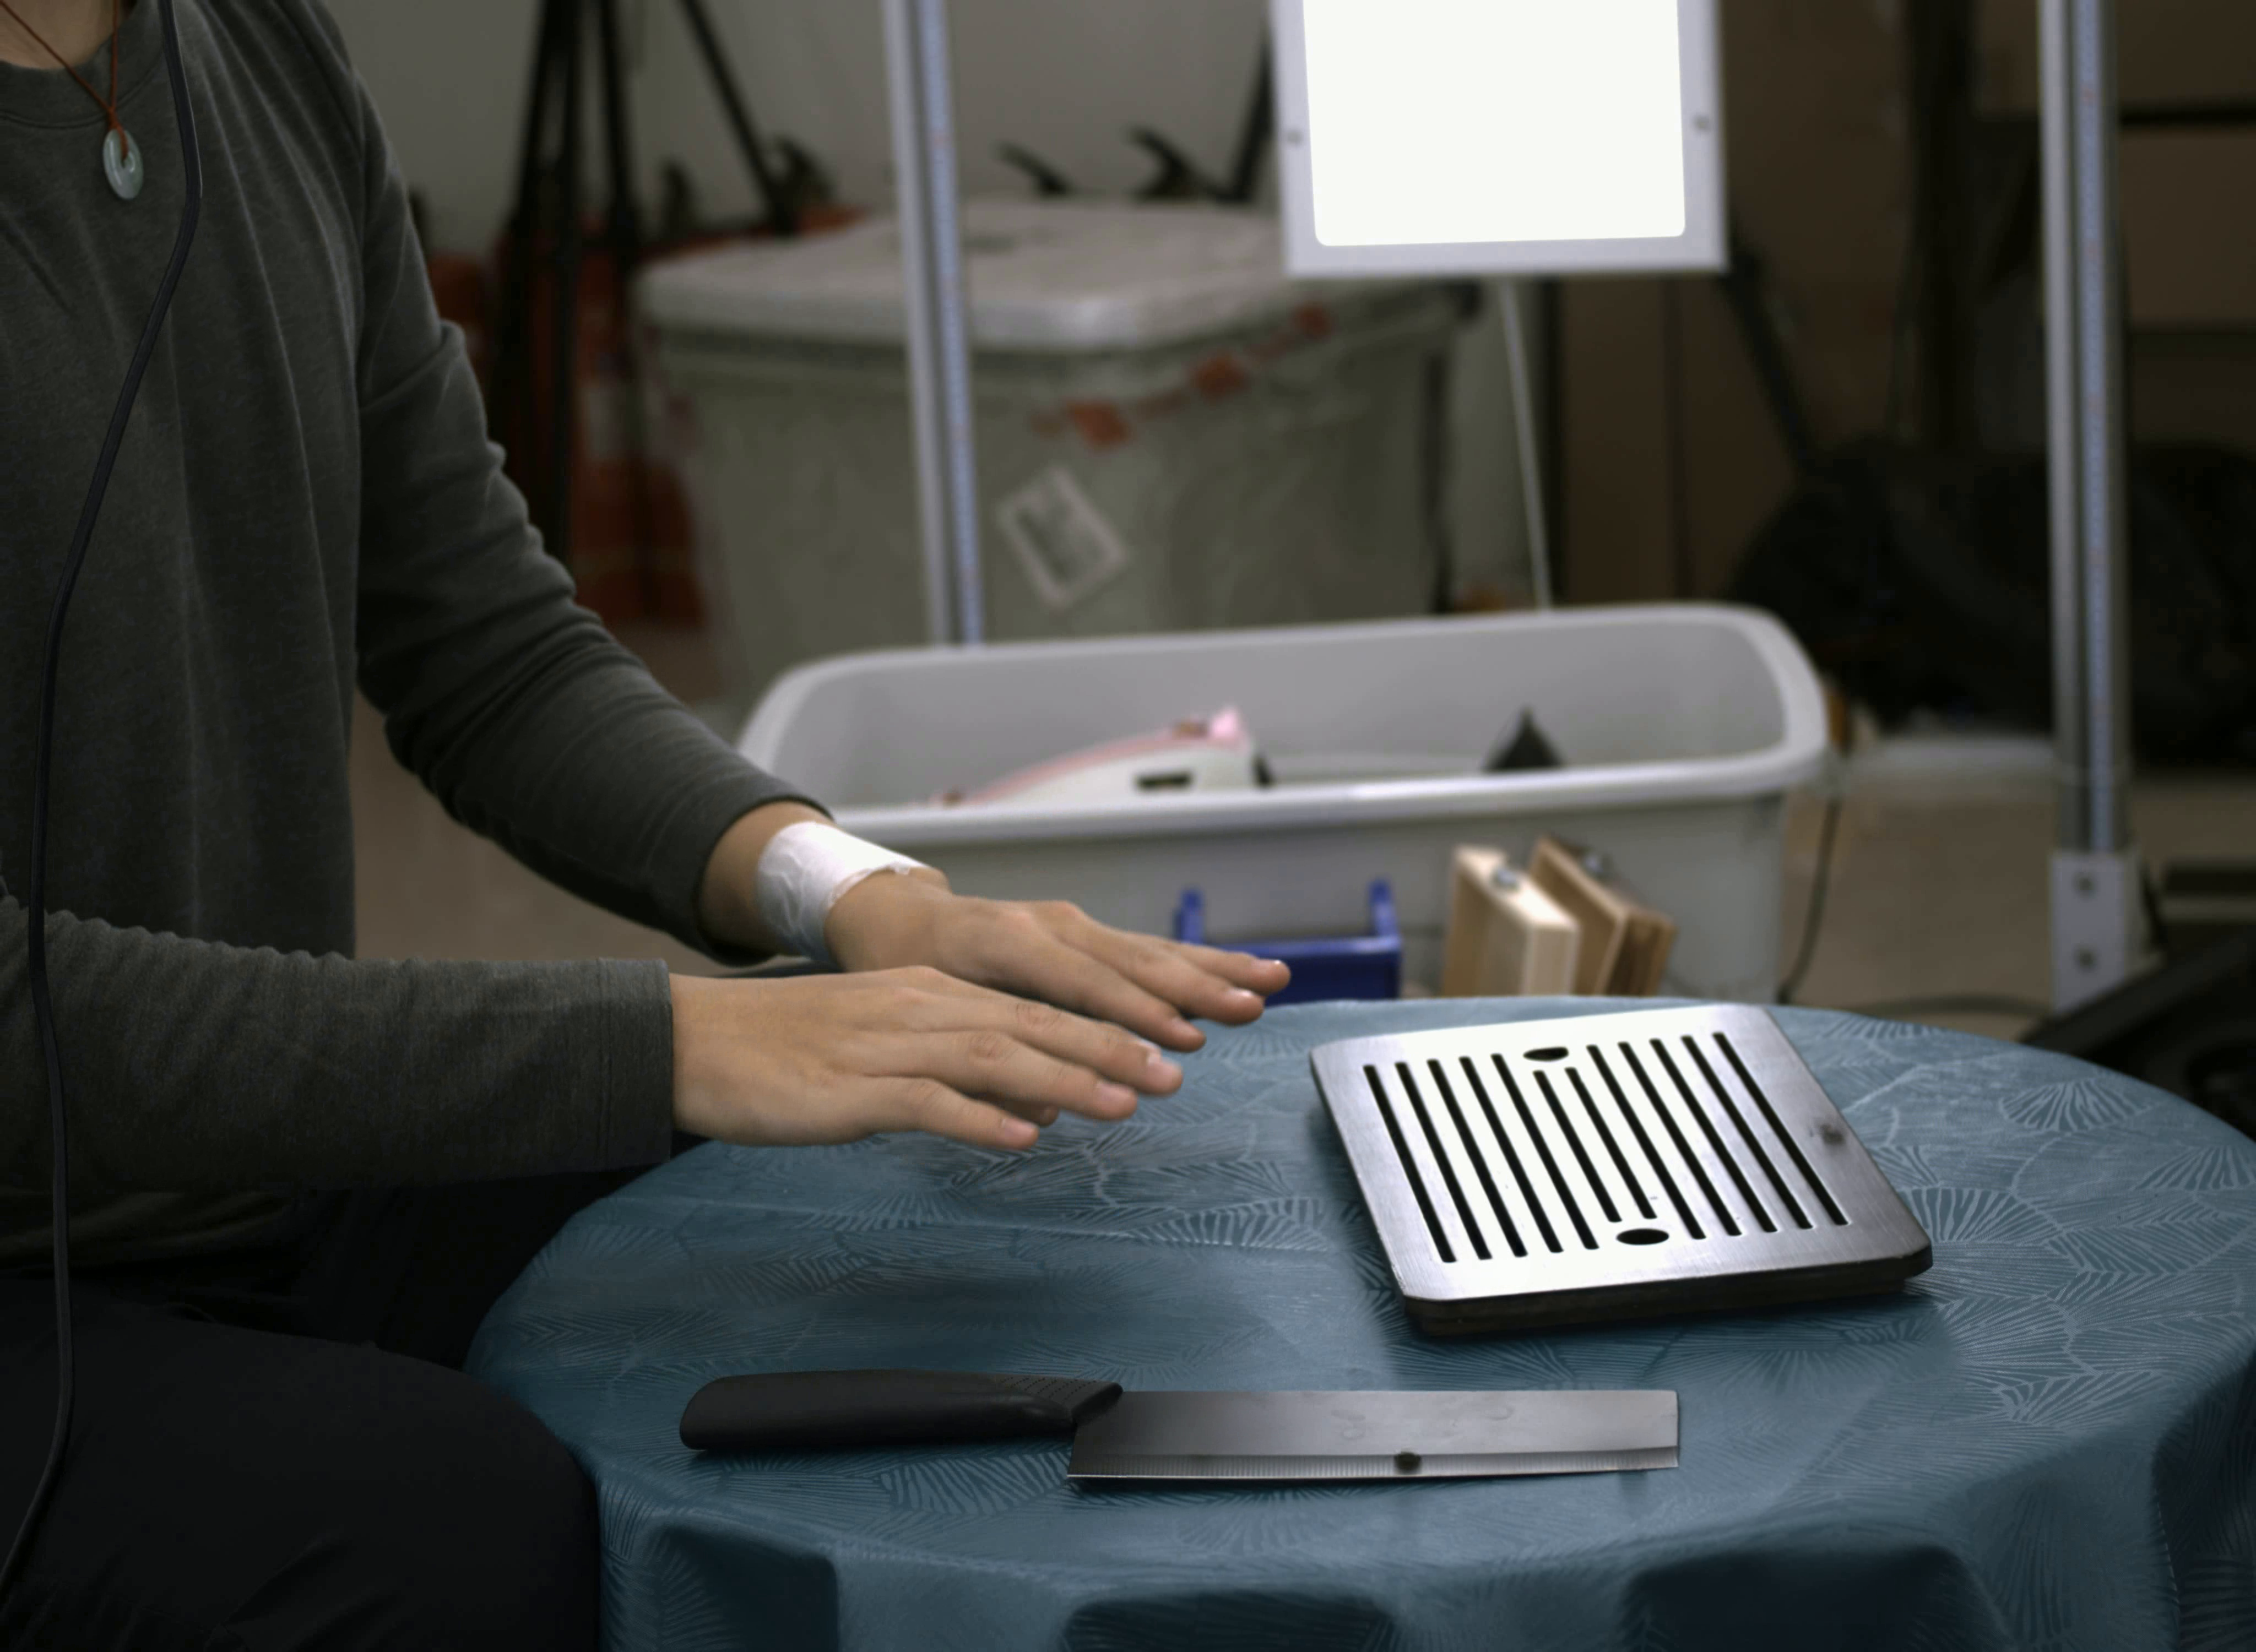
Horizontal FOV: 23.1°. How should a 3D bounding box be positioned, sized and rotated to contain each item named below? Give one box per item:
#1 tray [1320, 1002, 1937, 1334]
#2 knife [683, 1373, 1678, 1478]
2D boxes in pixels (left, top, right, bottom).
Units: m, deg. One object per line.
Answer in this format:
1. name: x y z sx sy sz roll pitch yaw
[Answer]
1. tray: 0.163 0.113 1.859 0.169 0.019 0.306 -6 13 -2
2. knife: 0.016 0.180 1.649 0.304 0.021 0.080 0 16 12
